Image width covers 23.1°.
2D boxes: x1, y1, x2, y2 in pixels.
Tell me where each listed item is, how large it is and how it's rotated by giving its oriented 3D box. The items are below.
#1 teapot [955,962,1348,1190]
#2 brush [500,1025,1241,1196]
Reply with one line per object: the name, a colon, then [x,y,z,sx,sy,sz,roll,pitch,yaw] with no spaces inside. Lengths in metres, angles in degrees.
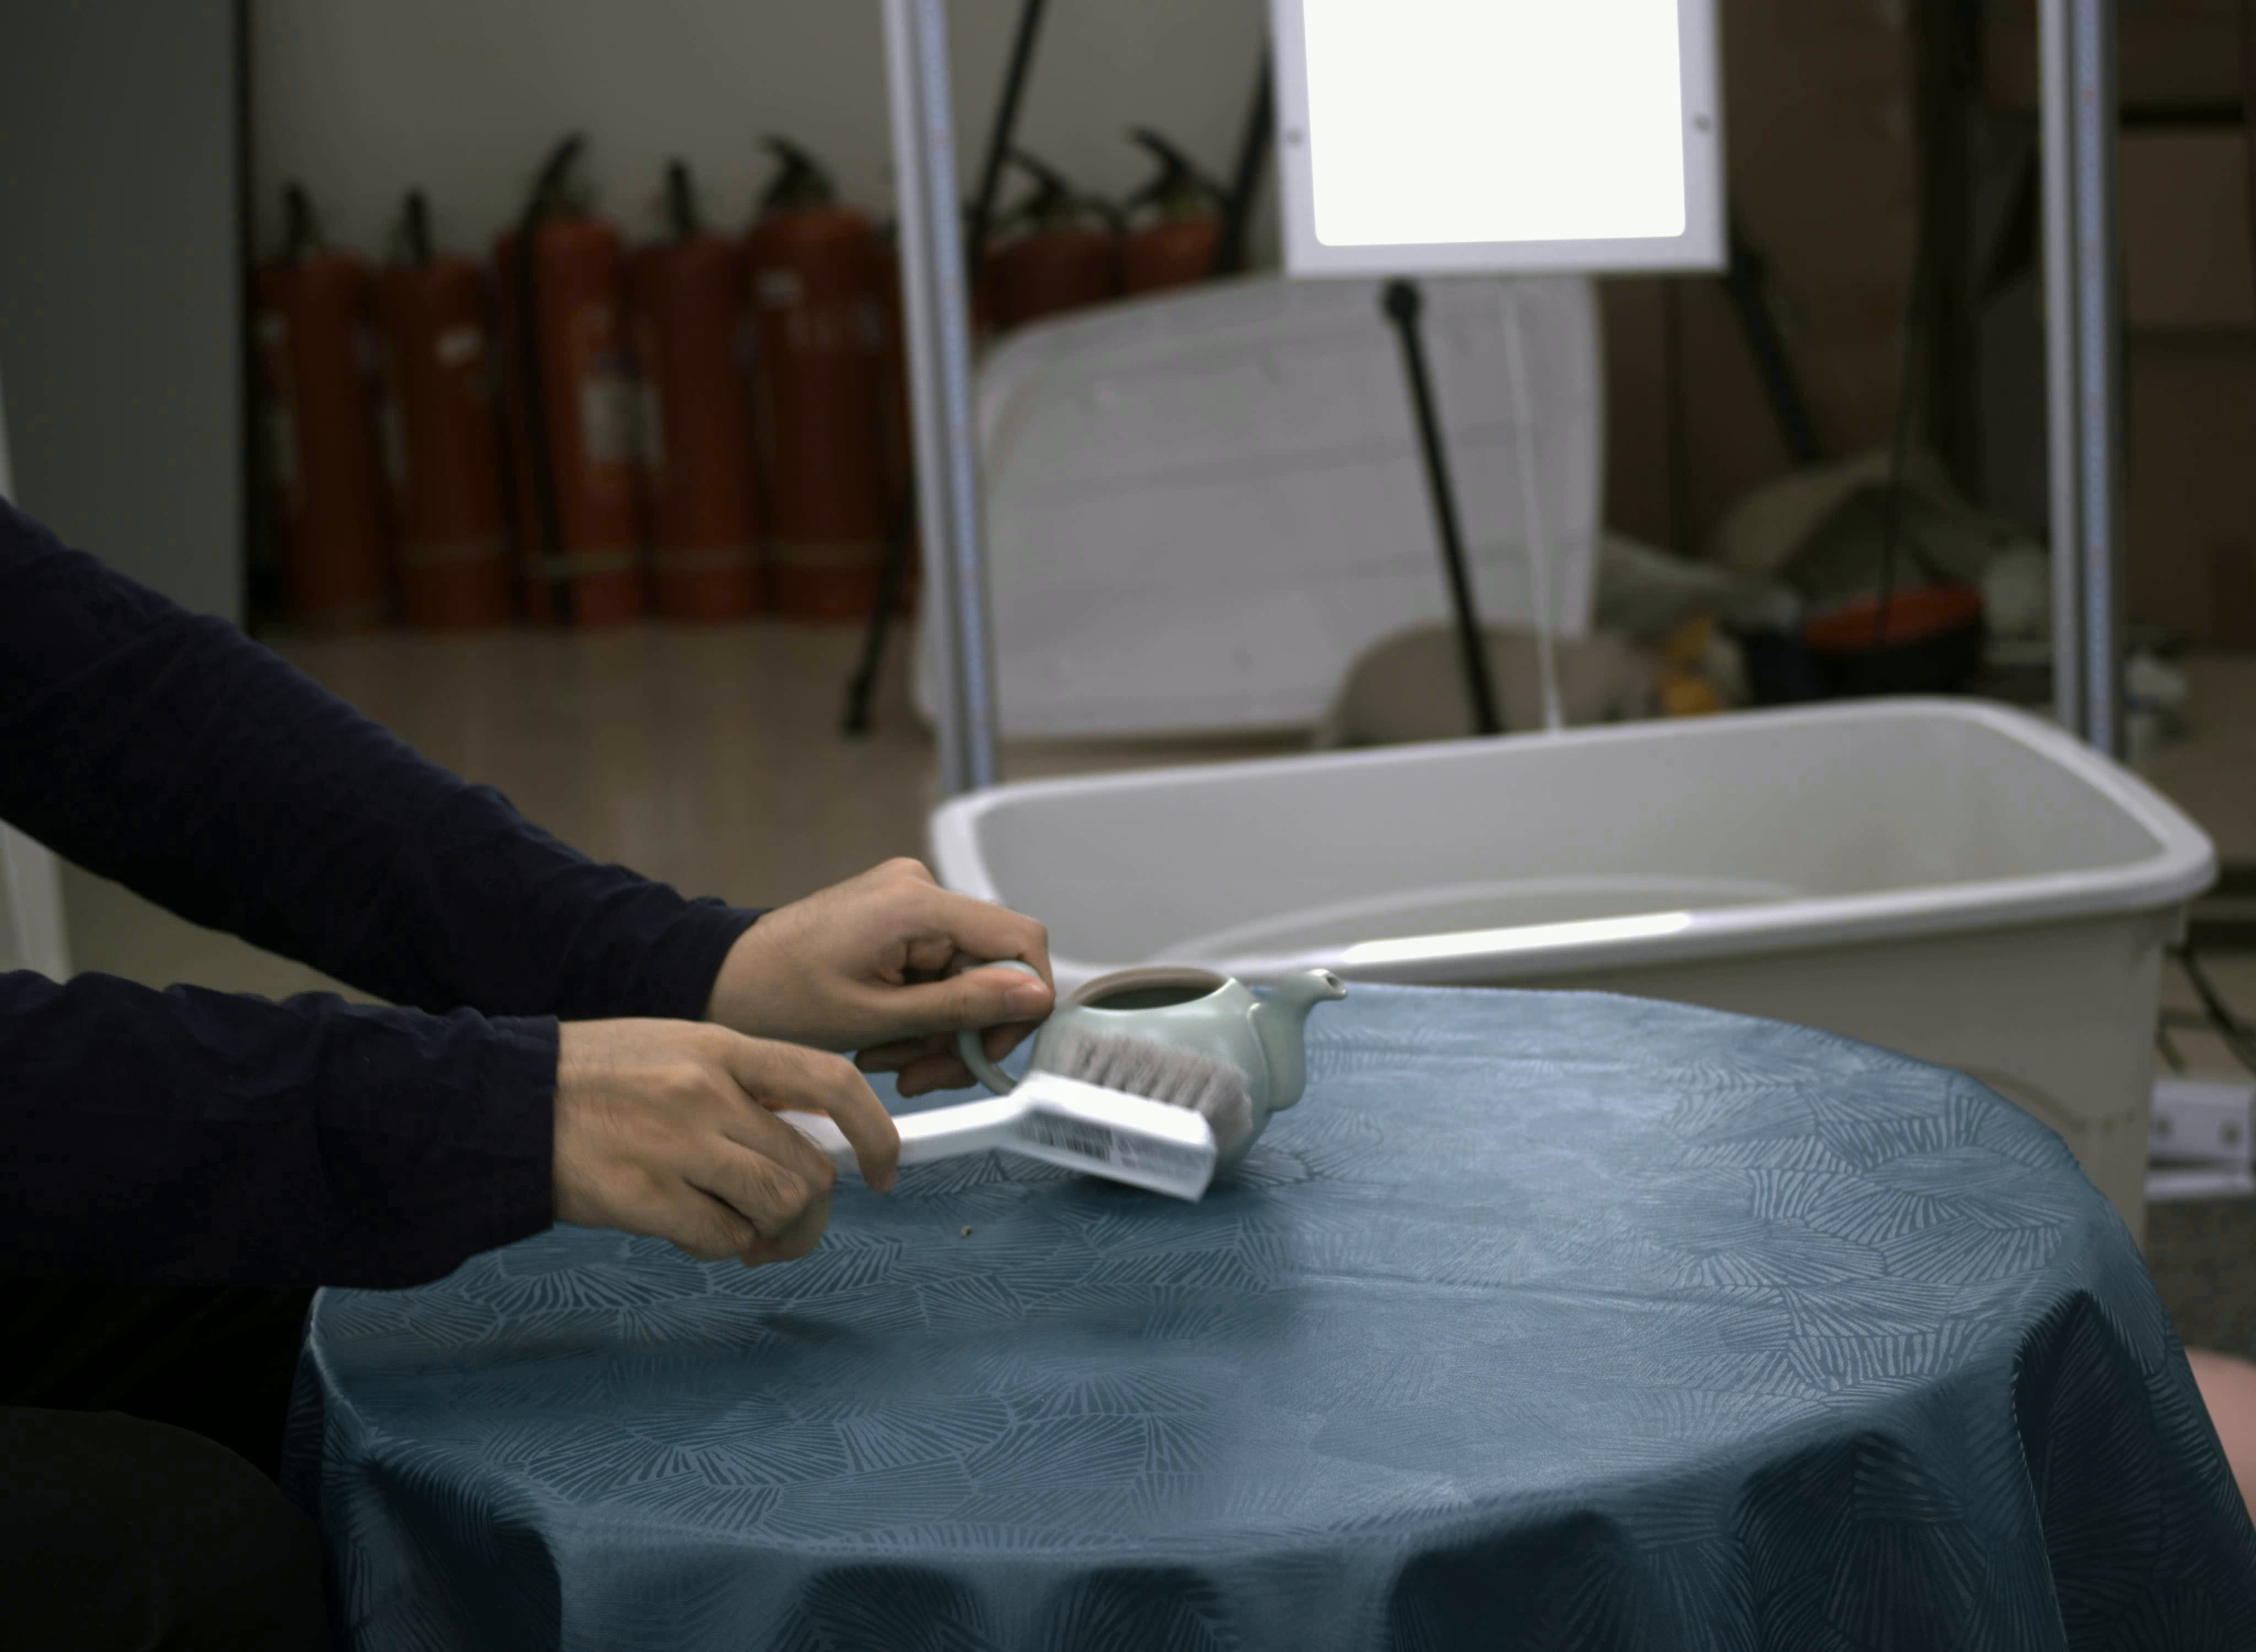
teapot: [0.010,0.085,1.915,0.146,0.075,0.087,2,17,22]
brush: [-0.084,0.093,1.793,0.245,0.034,0.050,-2,52,13]
